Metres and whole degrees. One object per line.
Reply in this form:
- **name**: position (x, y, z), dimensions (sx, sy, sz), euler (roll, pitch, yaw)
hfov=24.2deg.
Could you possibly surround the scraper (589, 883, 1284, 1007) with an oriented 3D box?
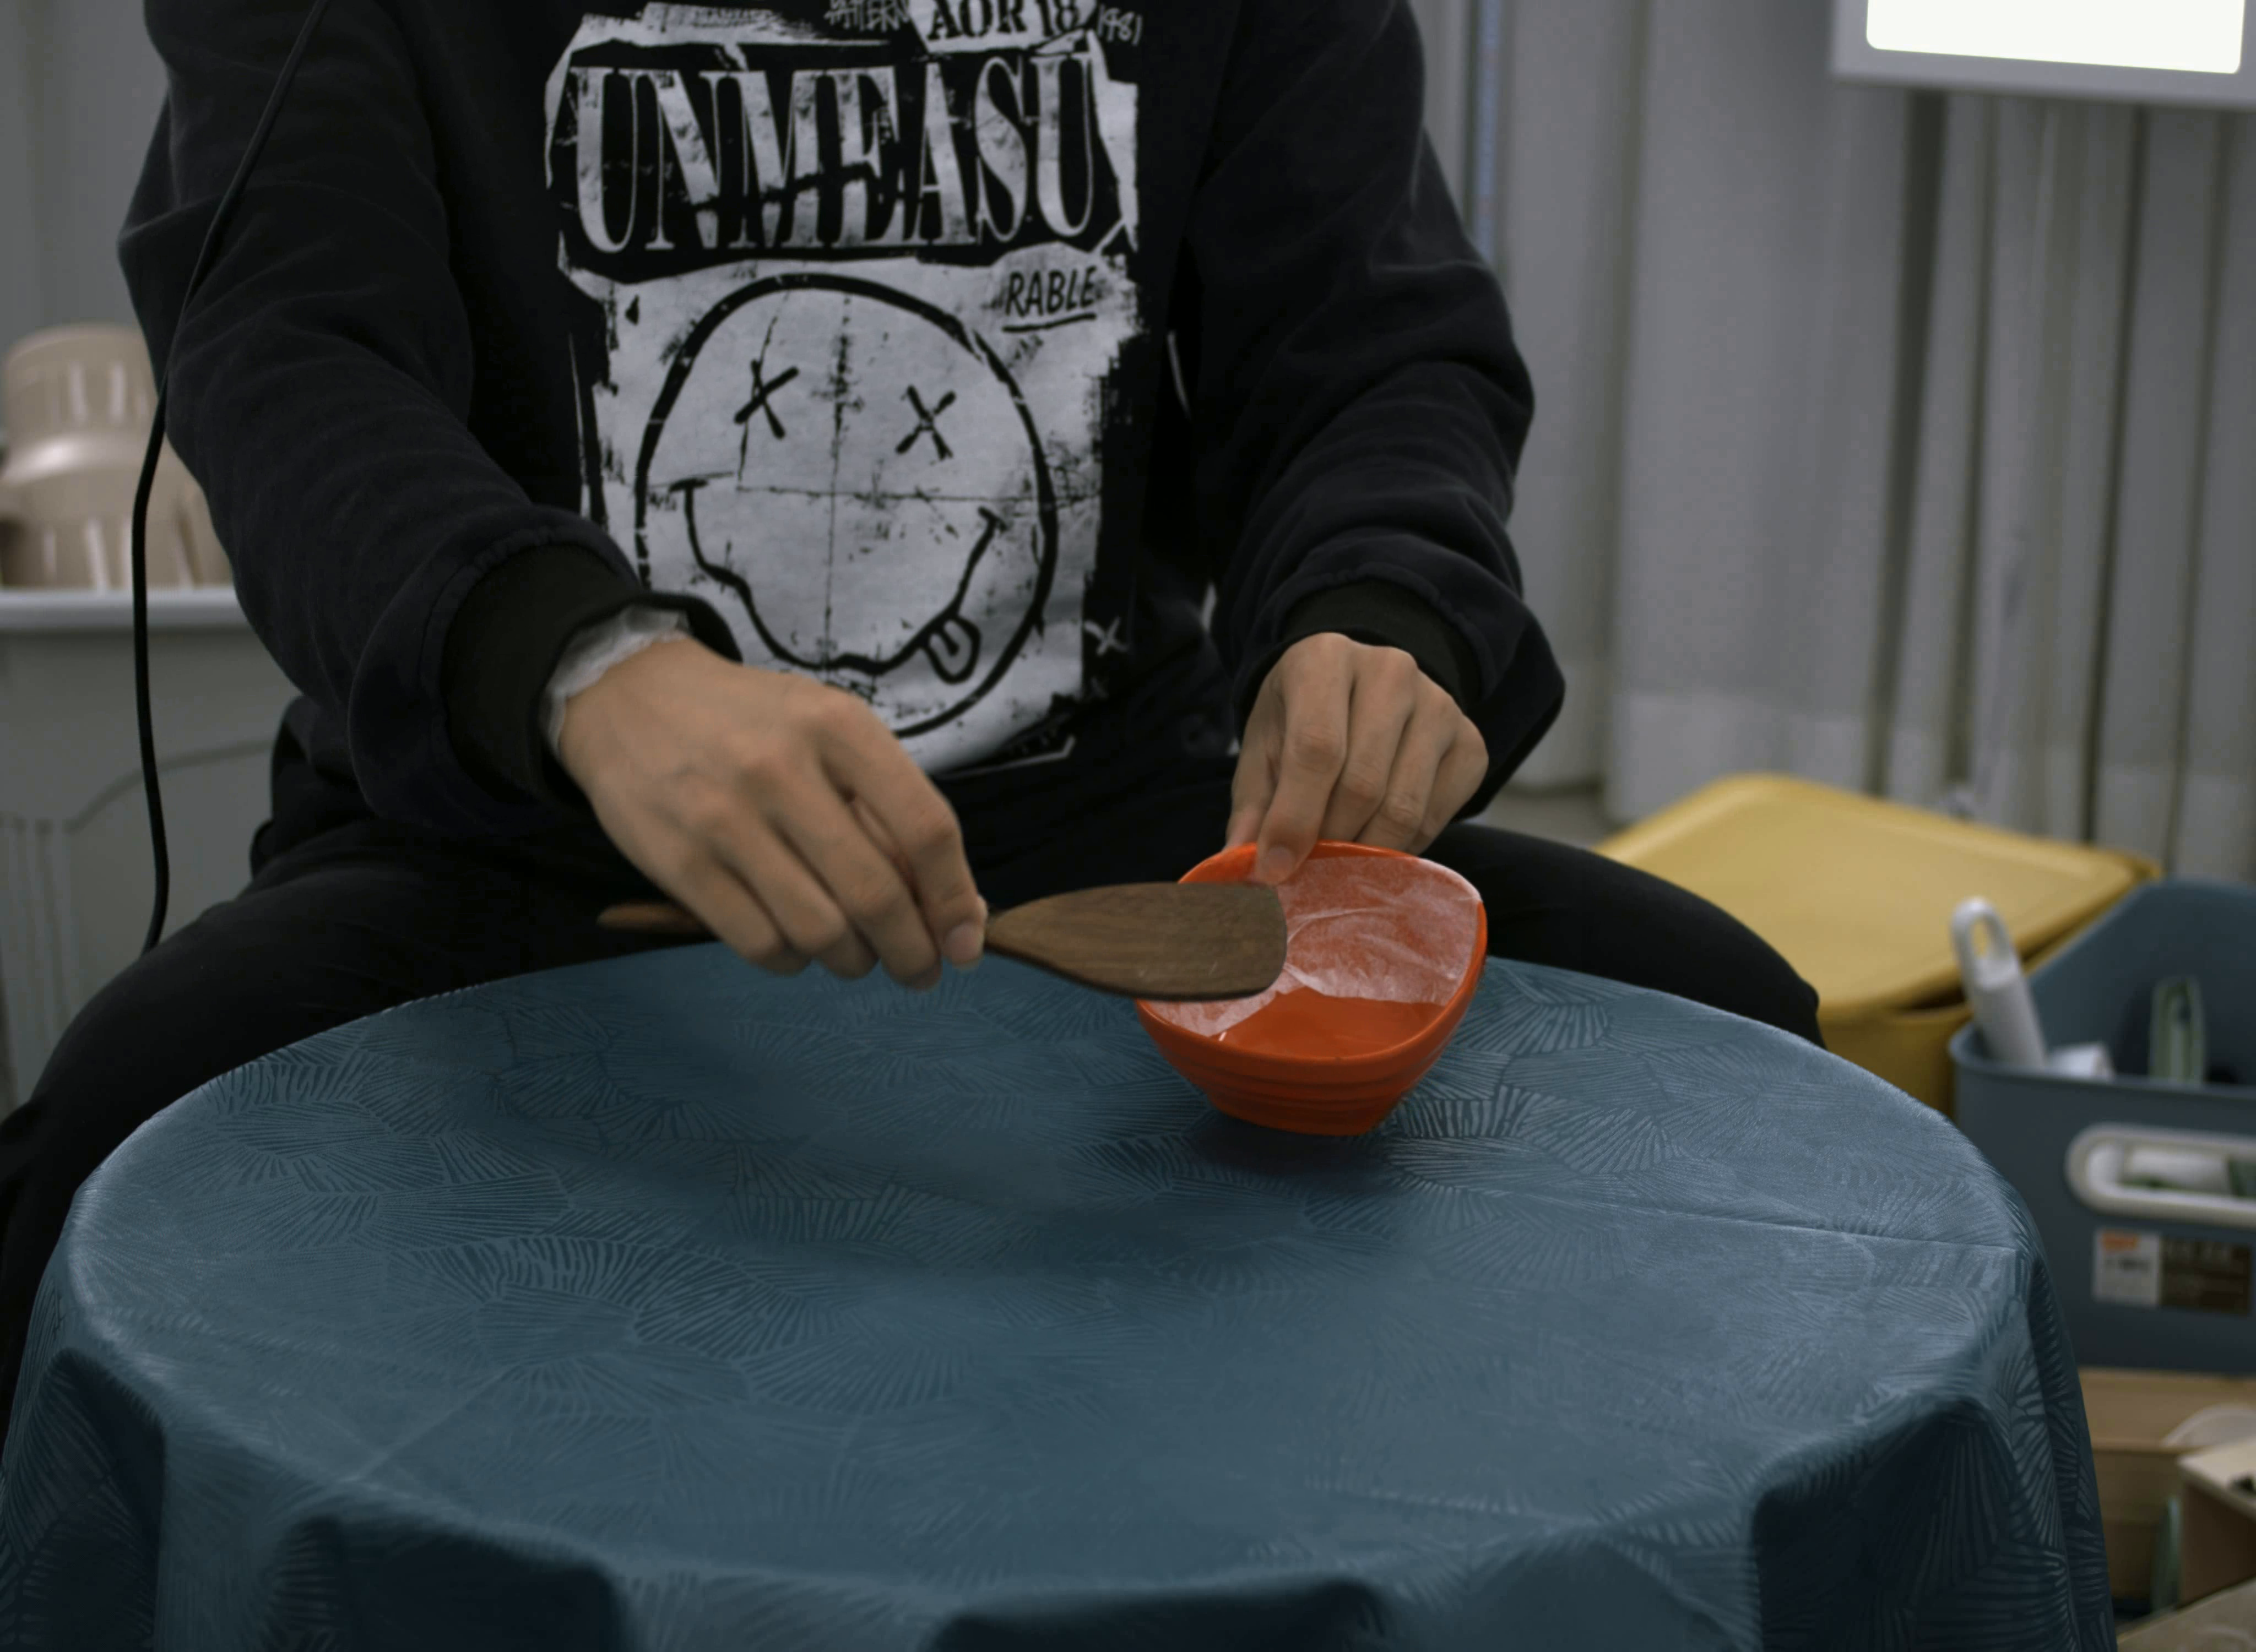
- **scraper**: position (-0.058, 0.032, 1.594), dimensions (0.210, 0.011, 0.075), euler (4, 27, -1)

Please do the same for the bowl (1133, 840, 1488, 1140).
- **bowl**: position (0.060, 0.059, 1.688), dimensions (0.118, 0.052, 0.118), euler (-3, 39, 3)
